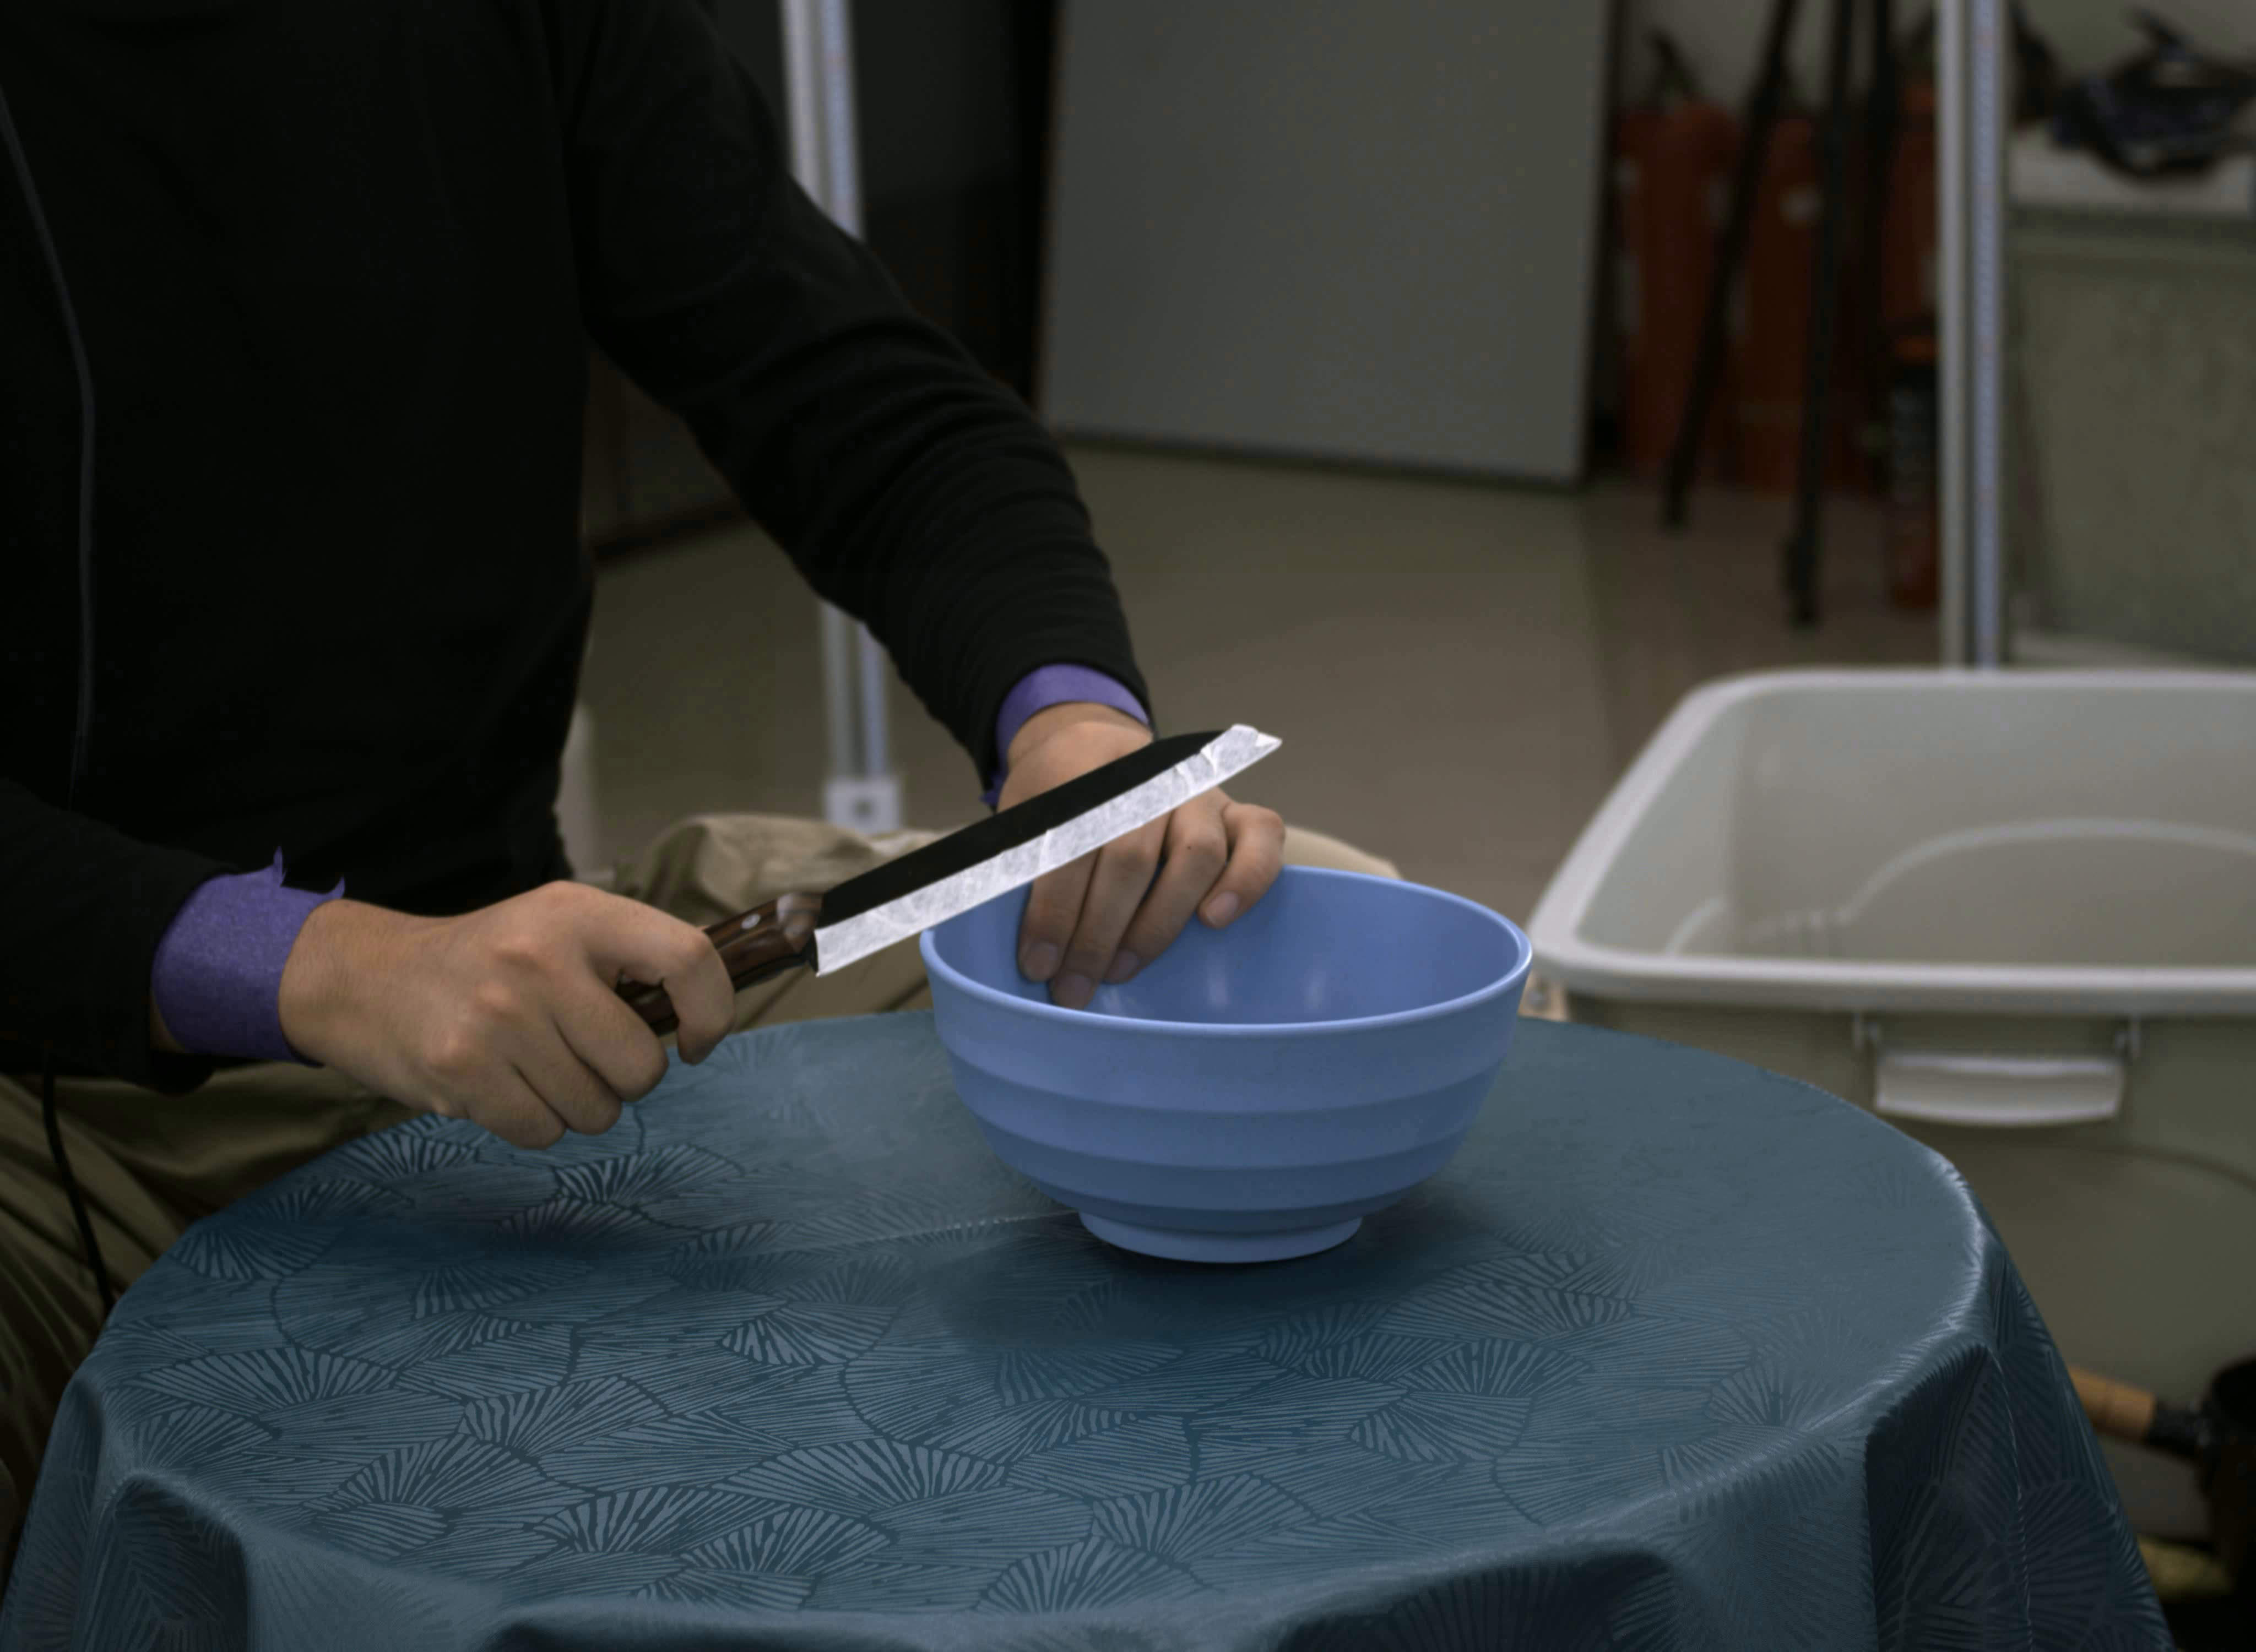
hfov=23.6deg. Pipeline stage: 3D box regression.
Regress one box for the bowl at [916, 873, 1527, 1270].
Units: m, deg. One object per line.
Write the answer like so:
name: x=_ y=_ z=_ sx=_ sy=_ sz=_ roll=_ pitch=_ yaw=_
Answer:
bowl: x=0.030 y=0.082 z=1.719 sx=0.194 sy=0.096 sz=0.197 roll=-1 pitch=13 yaw=-1

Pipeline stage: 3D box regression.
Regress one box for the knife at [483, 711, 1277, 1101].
knife: x=-0.081 y=0.024 z=1.743 sx=0.288 sy=0.020 sz=0.050 roll=-24 pitch=34 yaw=13
